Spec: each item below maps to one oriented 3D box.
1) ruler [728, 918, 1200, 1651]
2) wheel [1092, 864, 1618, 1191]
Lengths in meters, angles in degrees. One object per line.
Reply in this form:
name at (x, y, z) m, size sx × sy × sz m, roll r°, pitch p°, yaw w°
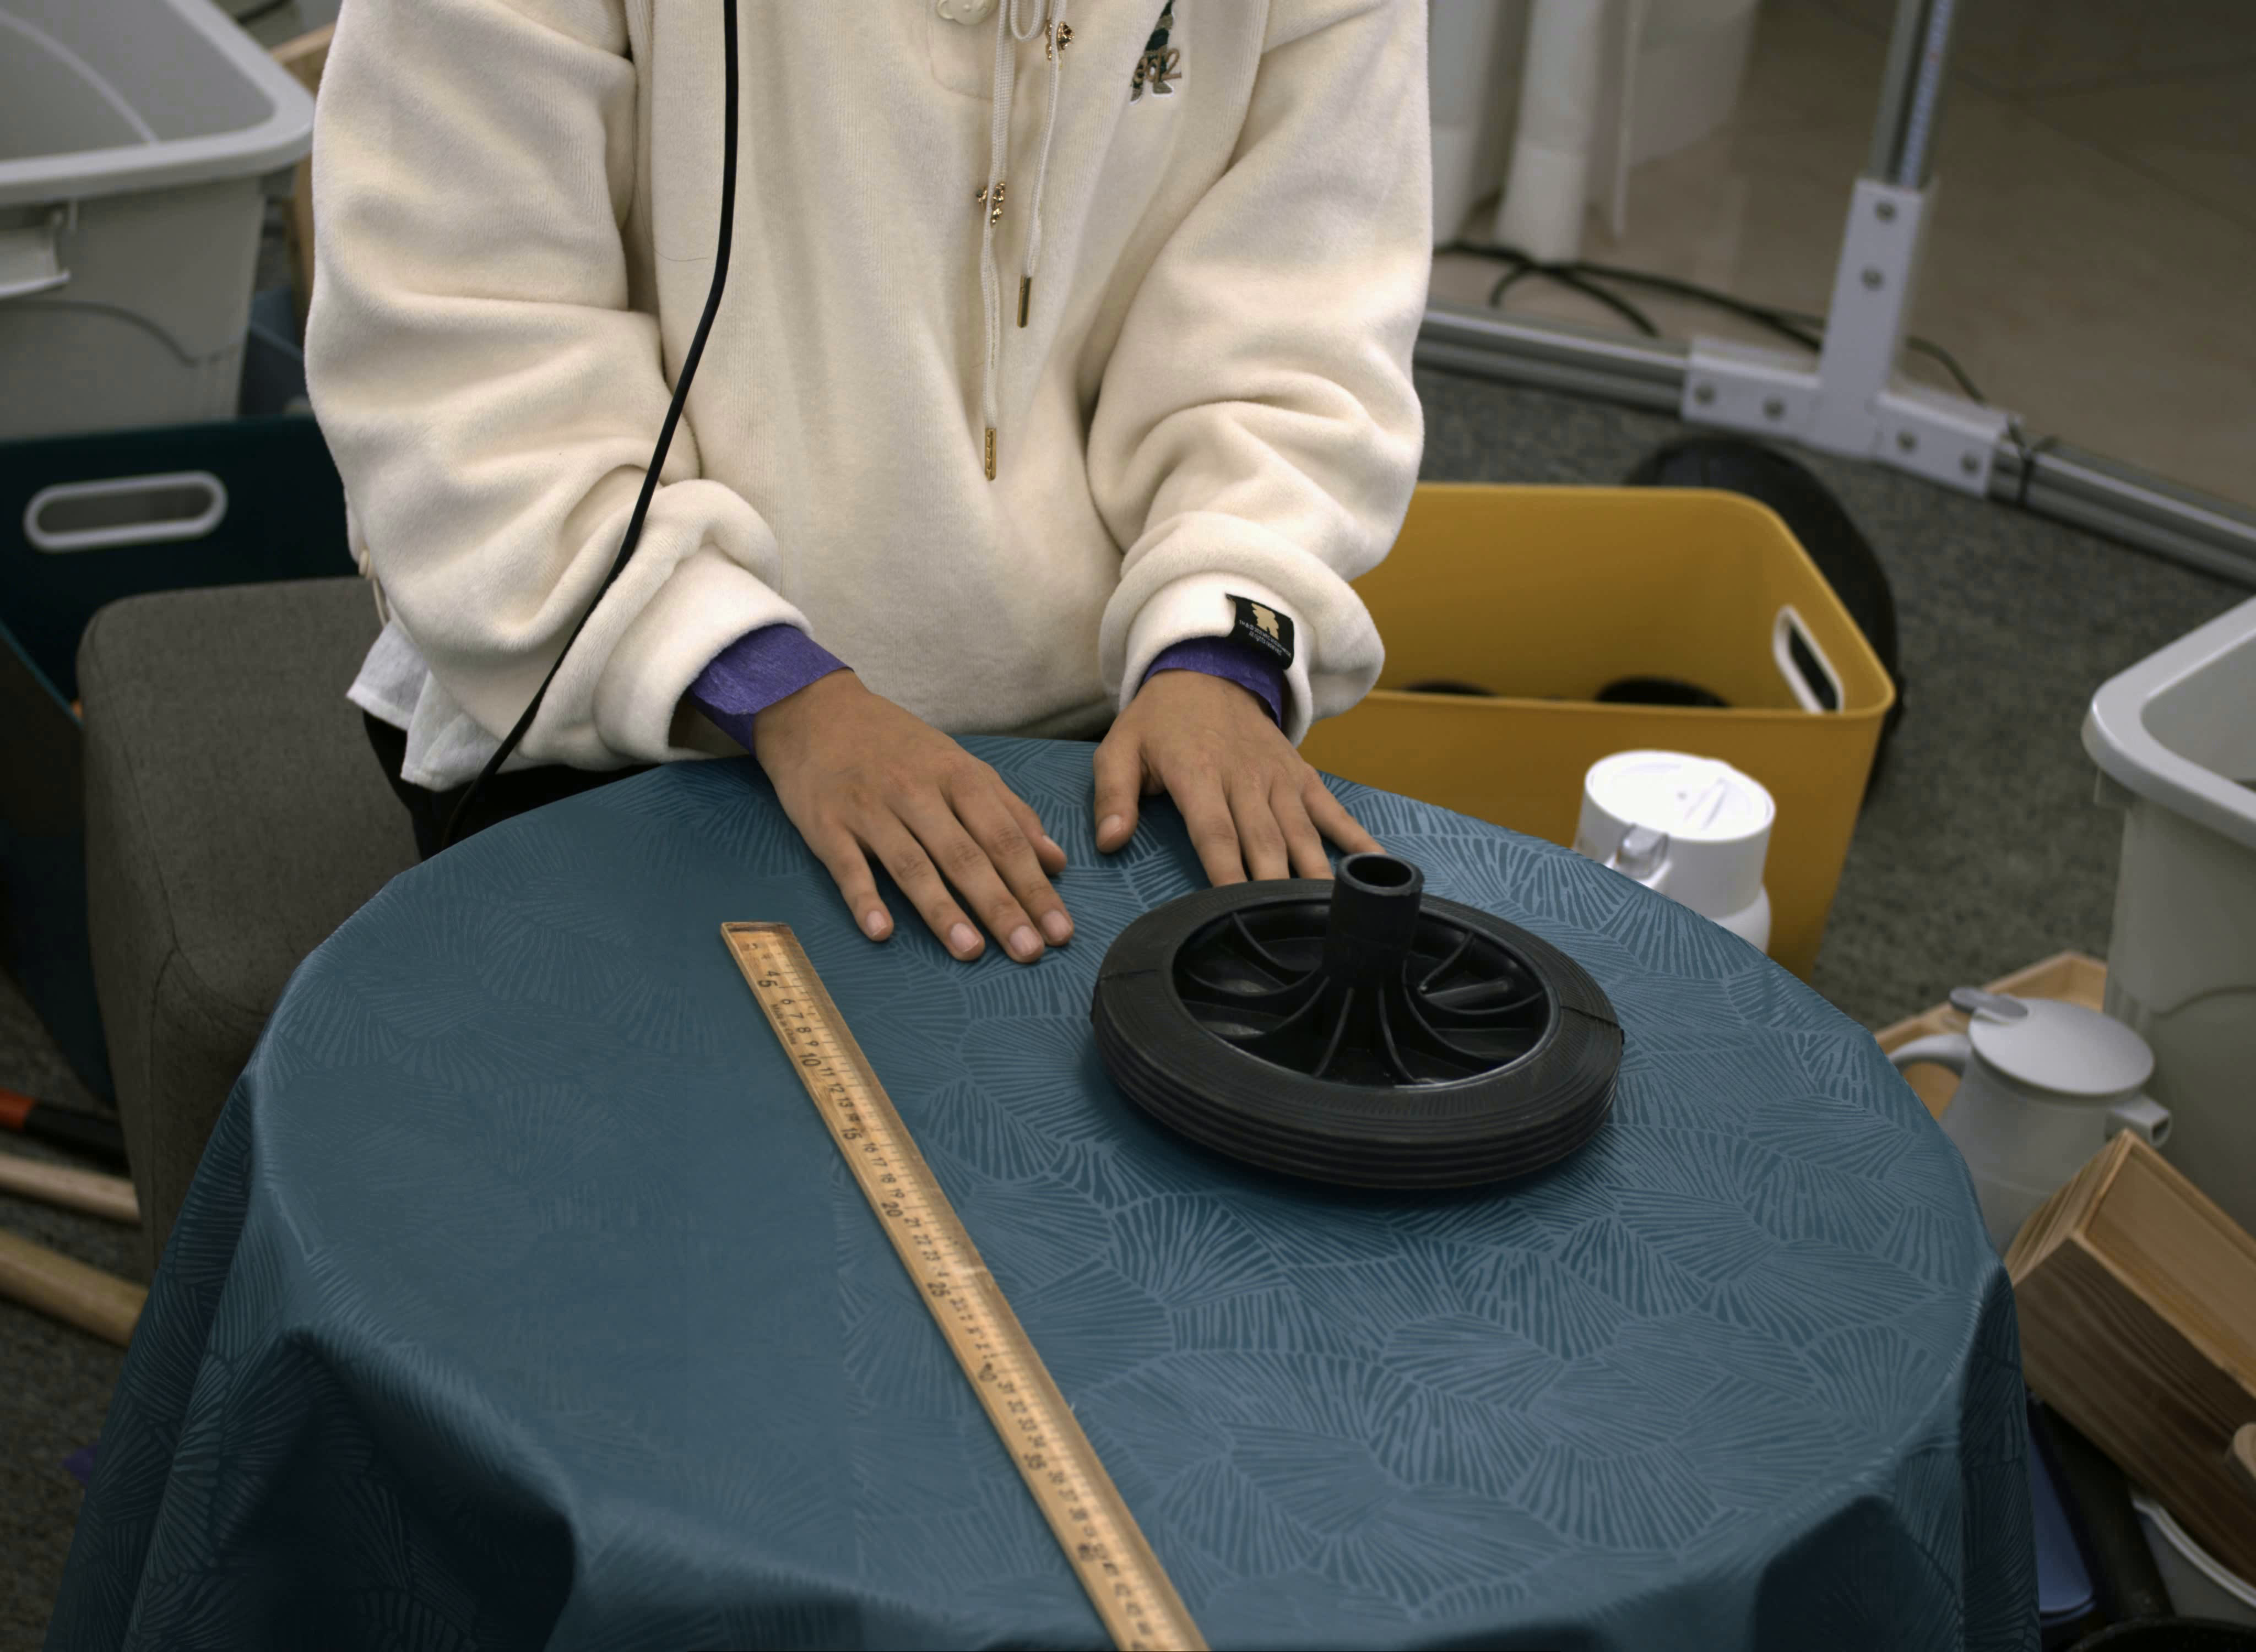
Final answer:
ruler at (-0.056, 0.151, 1.730) m, size 0.026 × 0.006 × 0.505 m, roll -5°, pitch 29°, yaw -18°
wheel at (0.083, 0.055, 1.872) m, size 0.188 × 0.079 × 0.189 m, roll 23°, pitch 31°, yaw 30°
